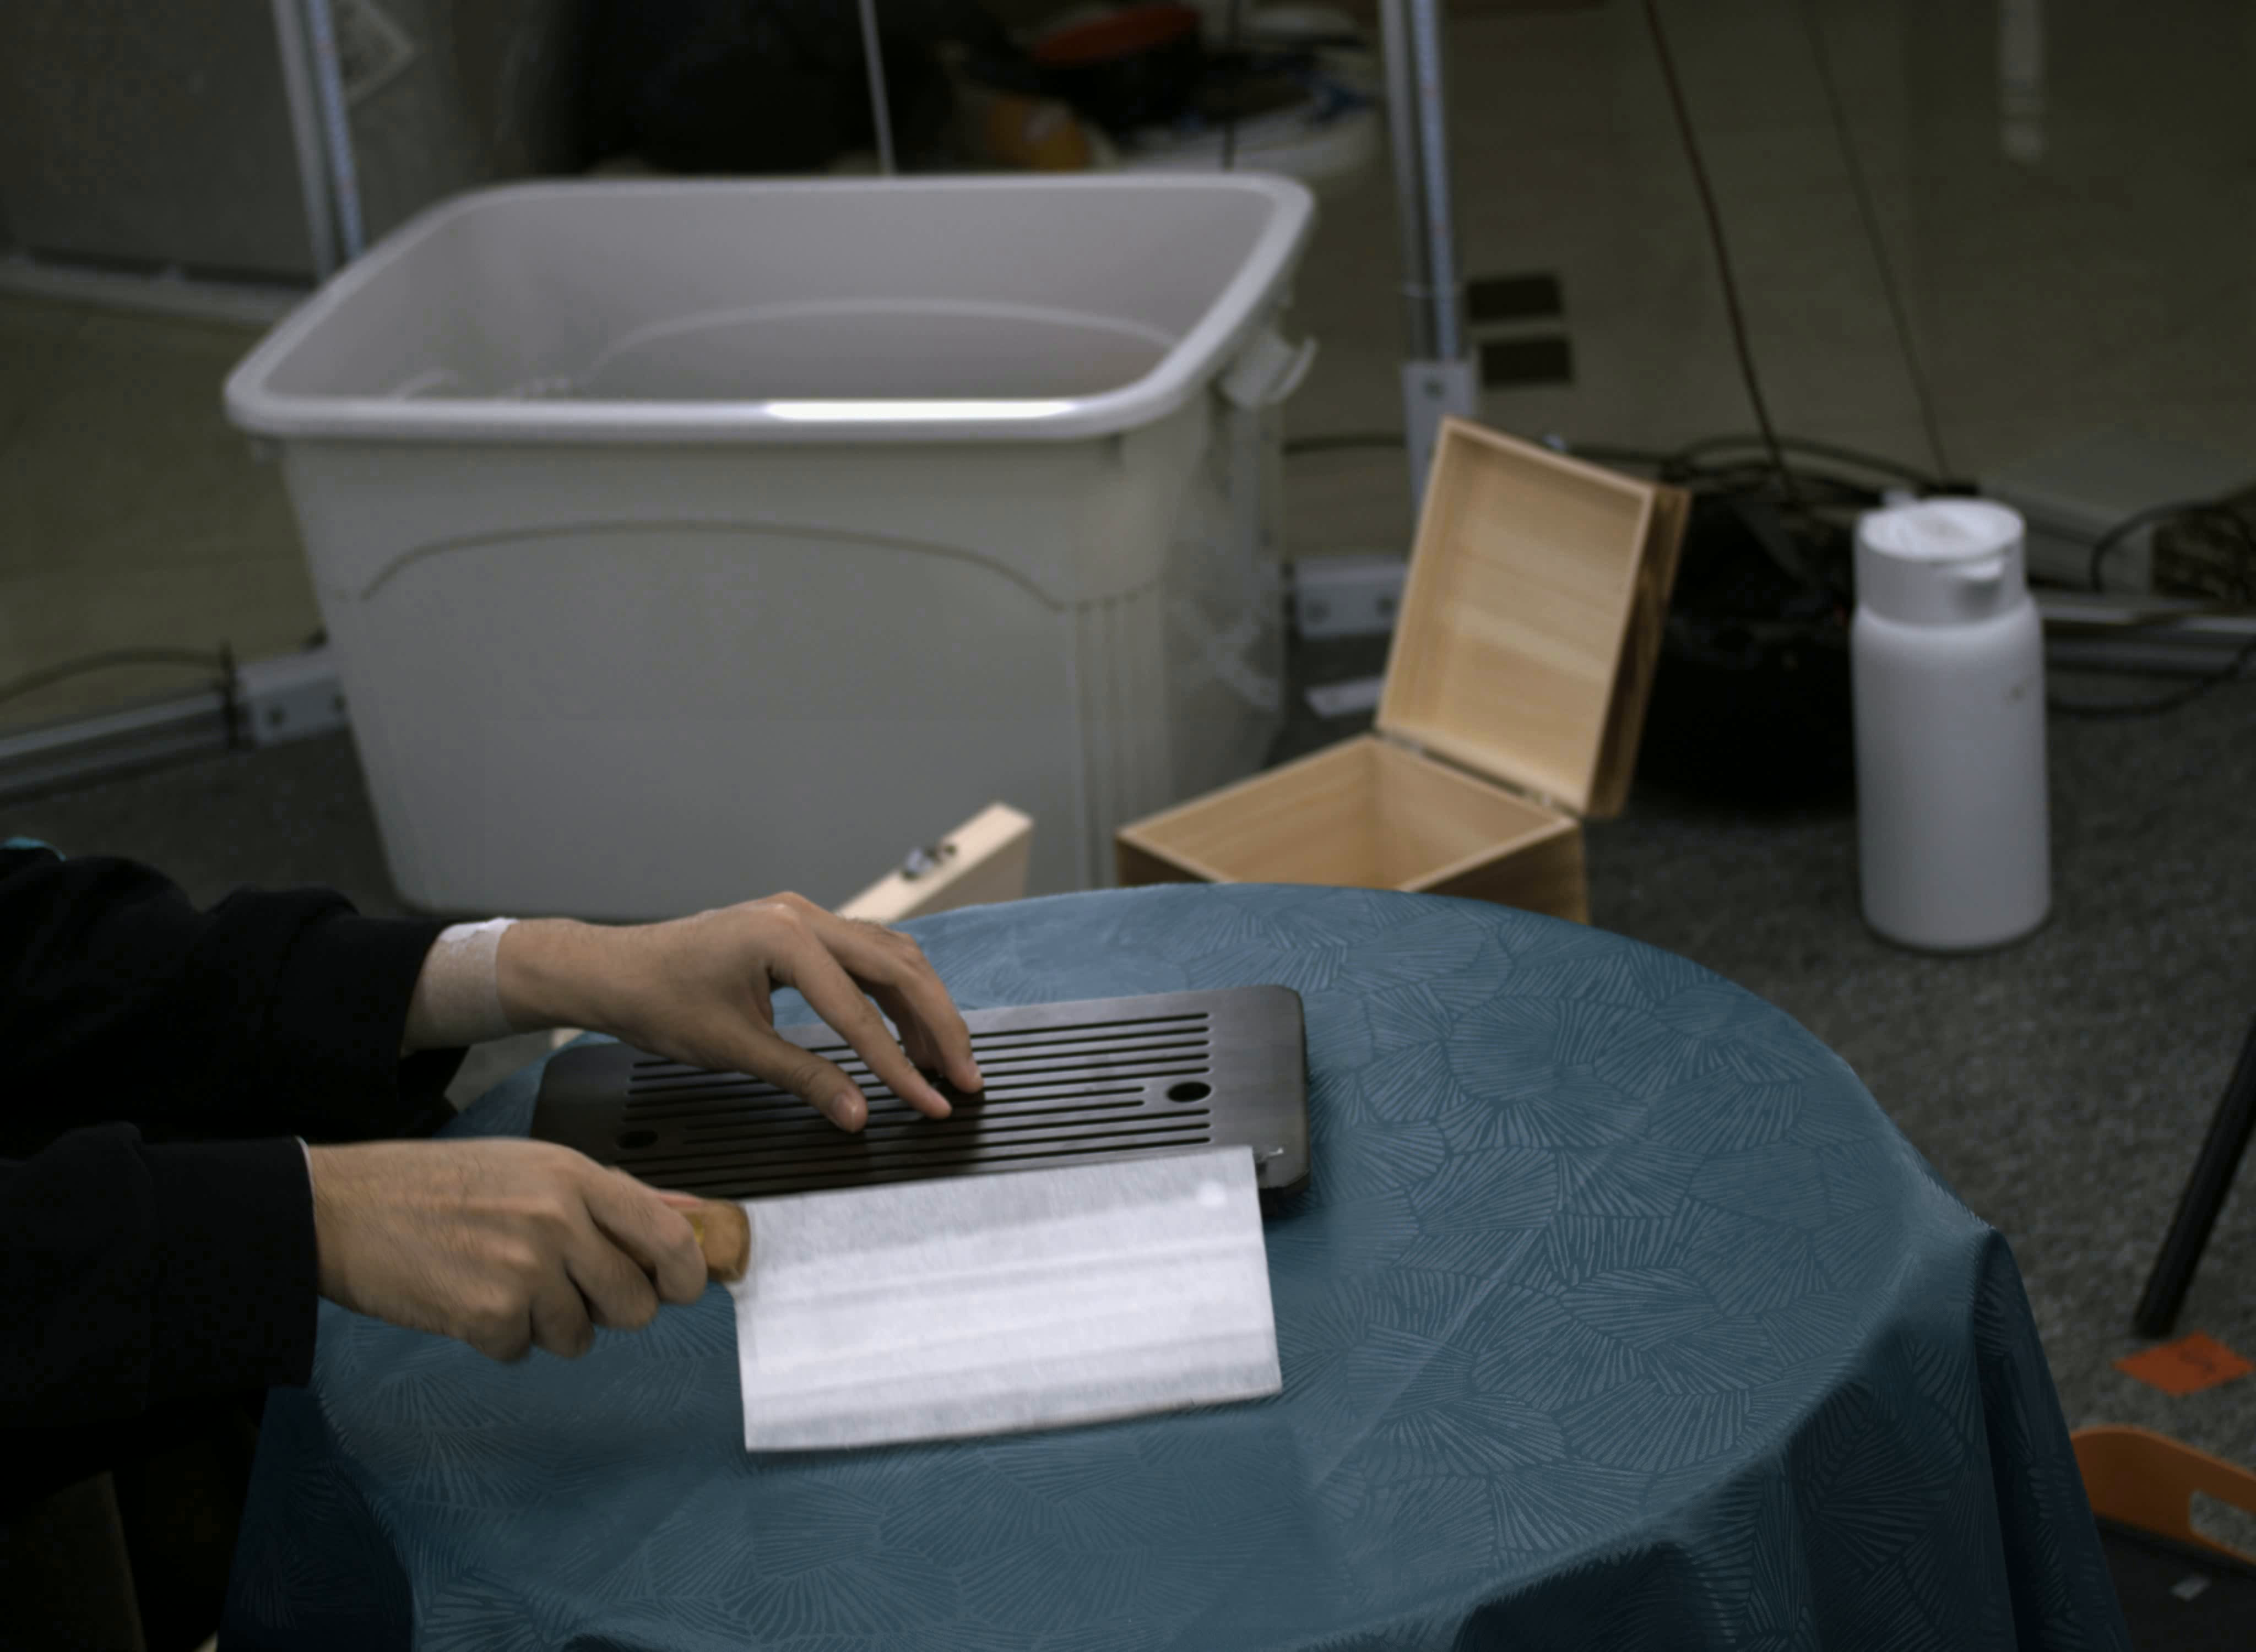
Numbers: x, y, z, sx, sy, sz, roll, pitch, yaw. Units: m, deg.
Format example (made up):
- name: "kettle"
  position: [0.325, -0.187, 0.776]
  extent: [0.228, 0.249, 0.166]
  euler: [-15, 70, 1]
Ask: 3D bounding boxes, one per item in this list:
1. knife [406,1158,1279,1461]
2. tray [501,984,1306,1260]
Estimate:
- name: "knife"
  position: [-0.100, 0.175, 2.000]
  extent: [0.305, 0.092, 0.021]
  euler: [-6, -17, -1]
- name: "tray"
  position: [-0.084, 0.117, 2.193]
  extent: [0.305, 0.019, 0.167]
  euler: [-5, 25, 3]
